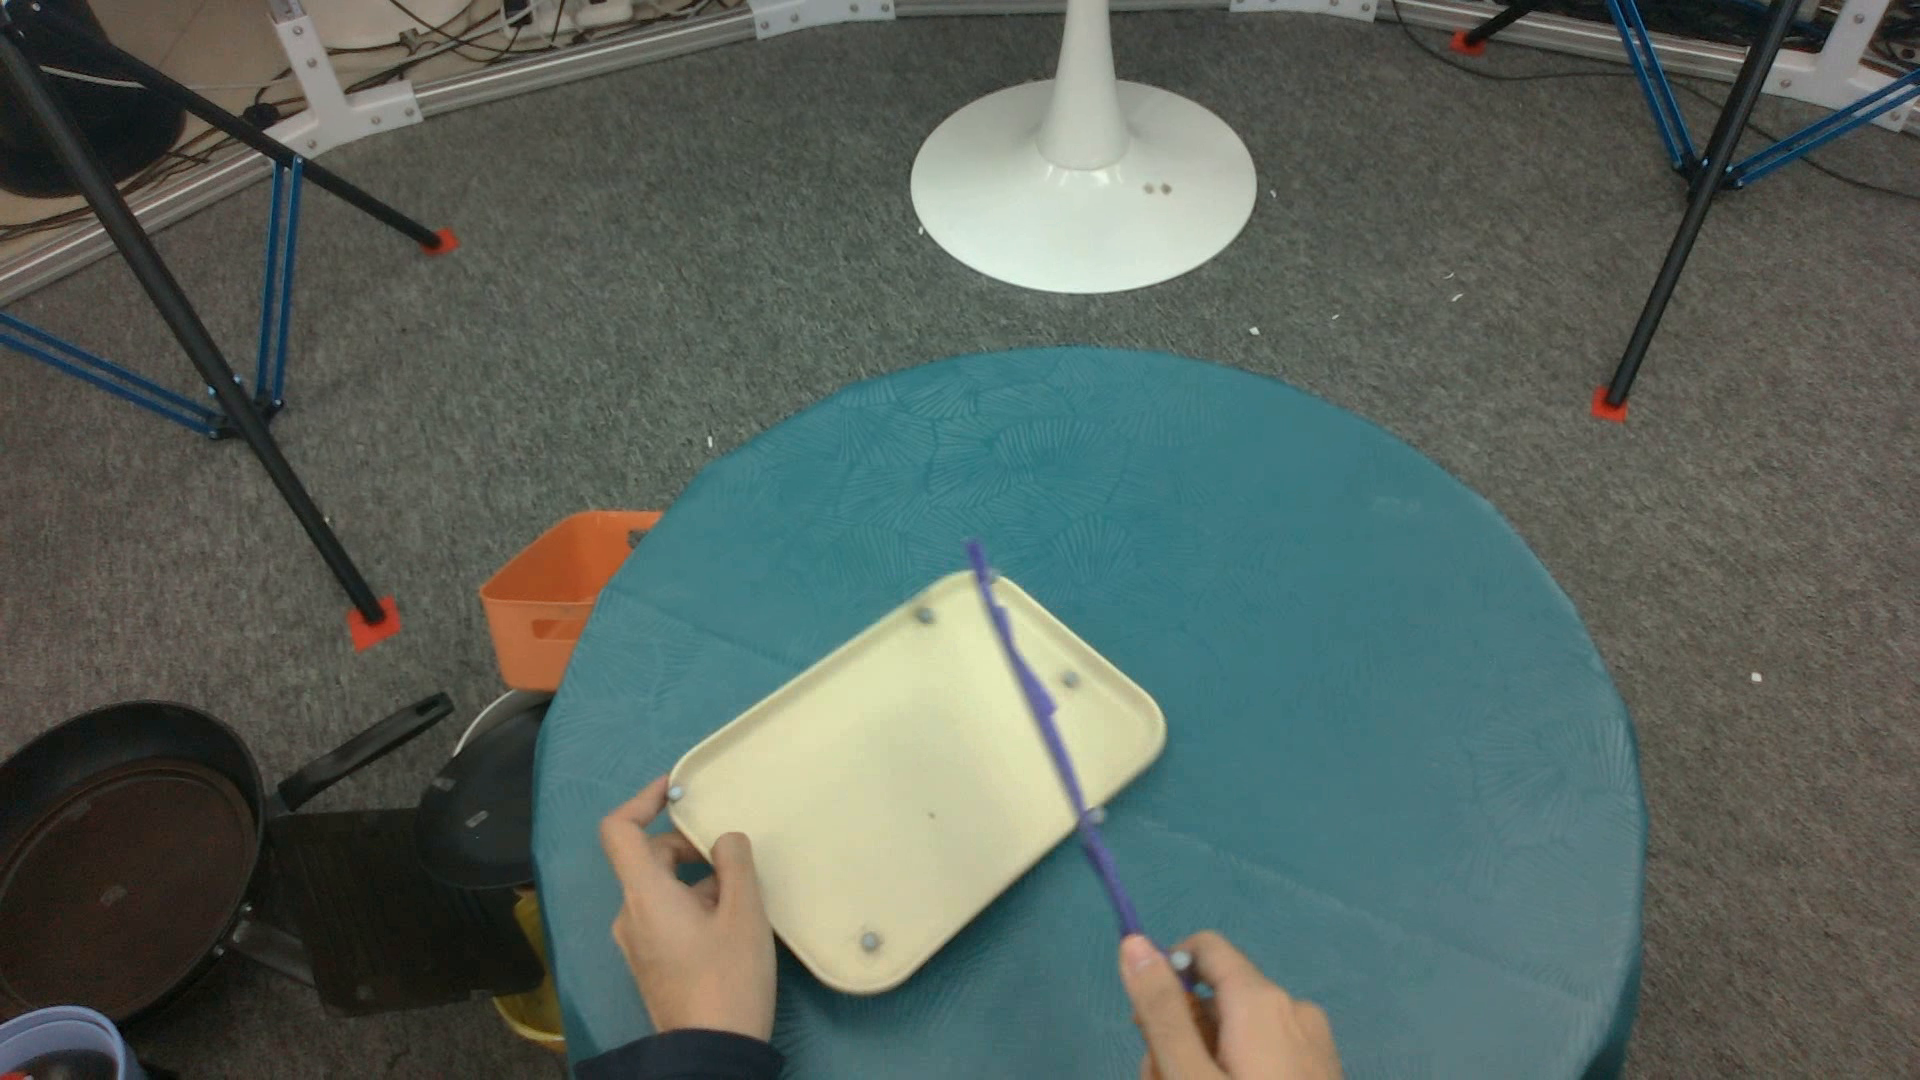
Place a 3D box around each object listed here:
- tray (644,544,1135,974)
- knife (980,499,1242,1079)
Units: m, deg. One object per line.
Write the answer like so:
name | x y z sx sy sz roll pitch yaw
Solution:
tray | -0.033 0.107 0.737 0.171 0.017 0.241 36 56 24
knife | 0.067 0.129 0.606 0.032 0.103 0.316 -20 61 2
